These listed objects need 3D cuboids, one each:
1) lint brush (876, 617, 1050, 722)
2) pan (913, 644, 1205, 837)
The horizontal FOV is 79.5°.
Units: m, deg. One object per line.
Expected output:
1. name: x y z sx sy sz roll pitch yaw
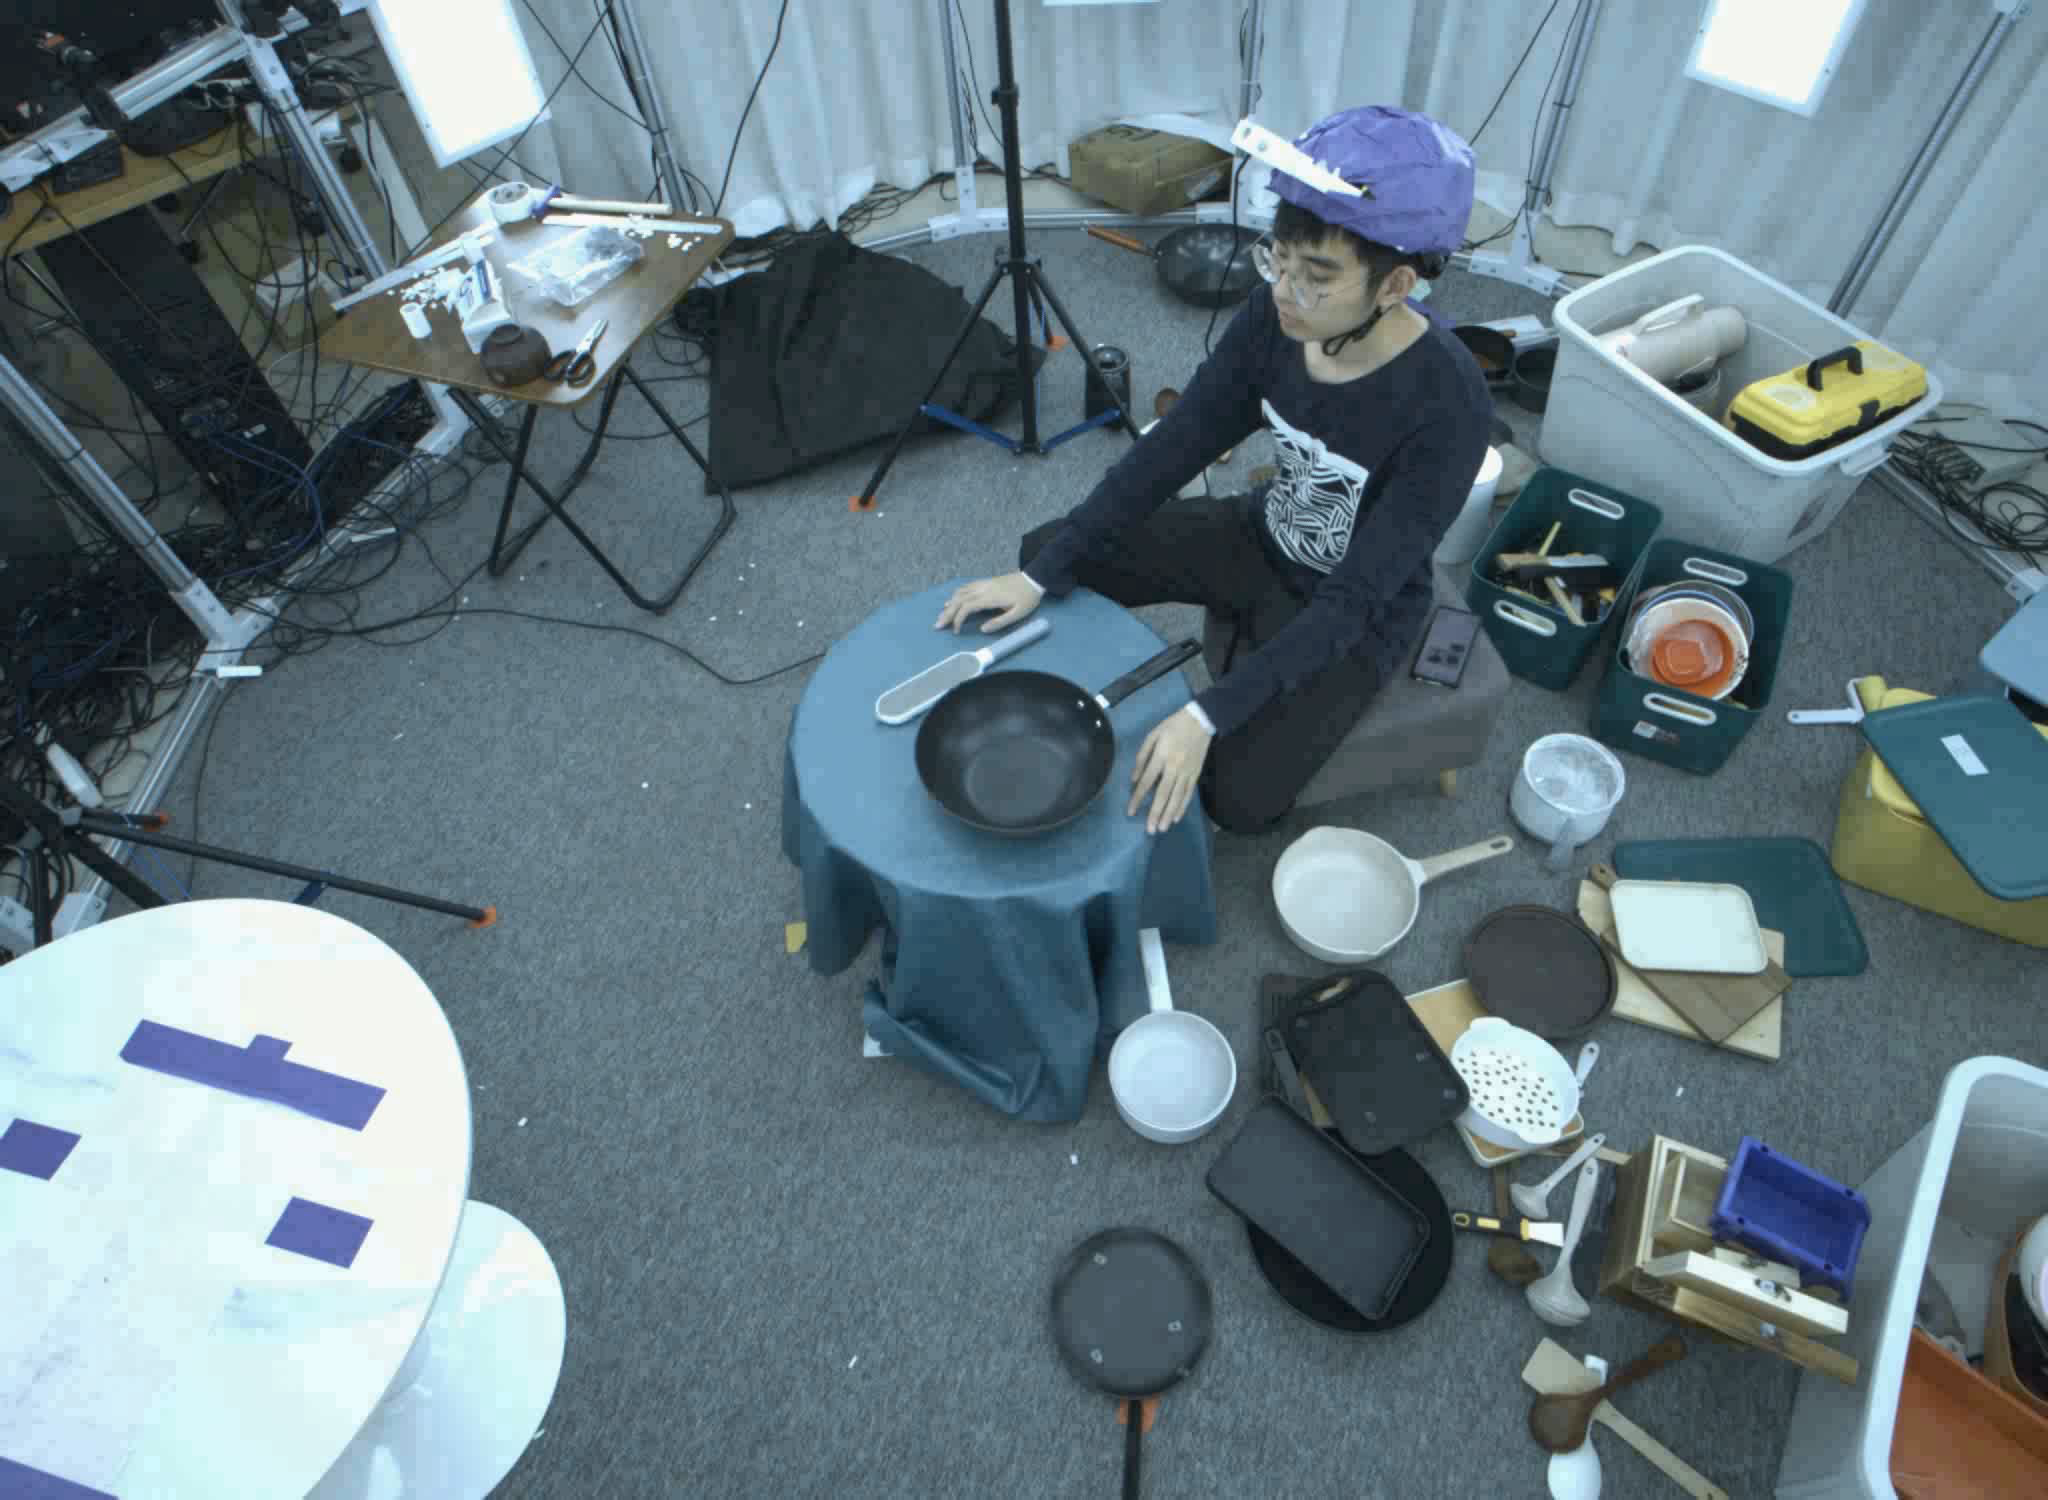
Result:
1. lint brush: -0.089 -0.126 1.870 0.311 0.021 0.059 -30 54 -19
2. pan: 0.064 -0.027 1.762 0.467 0.088 0.283 -30 59 -19
